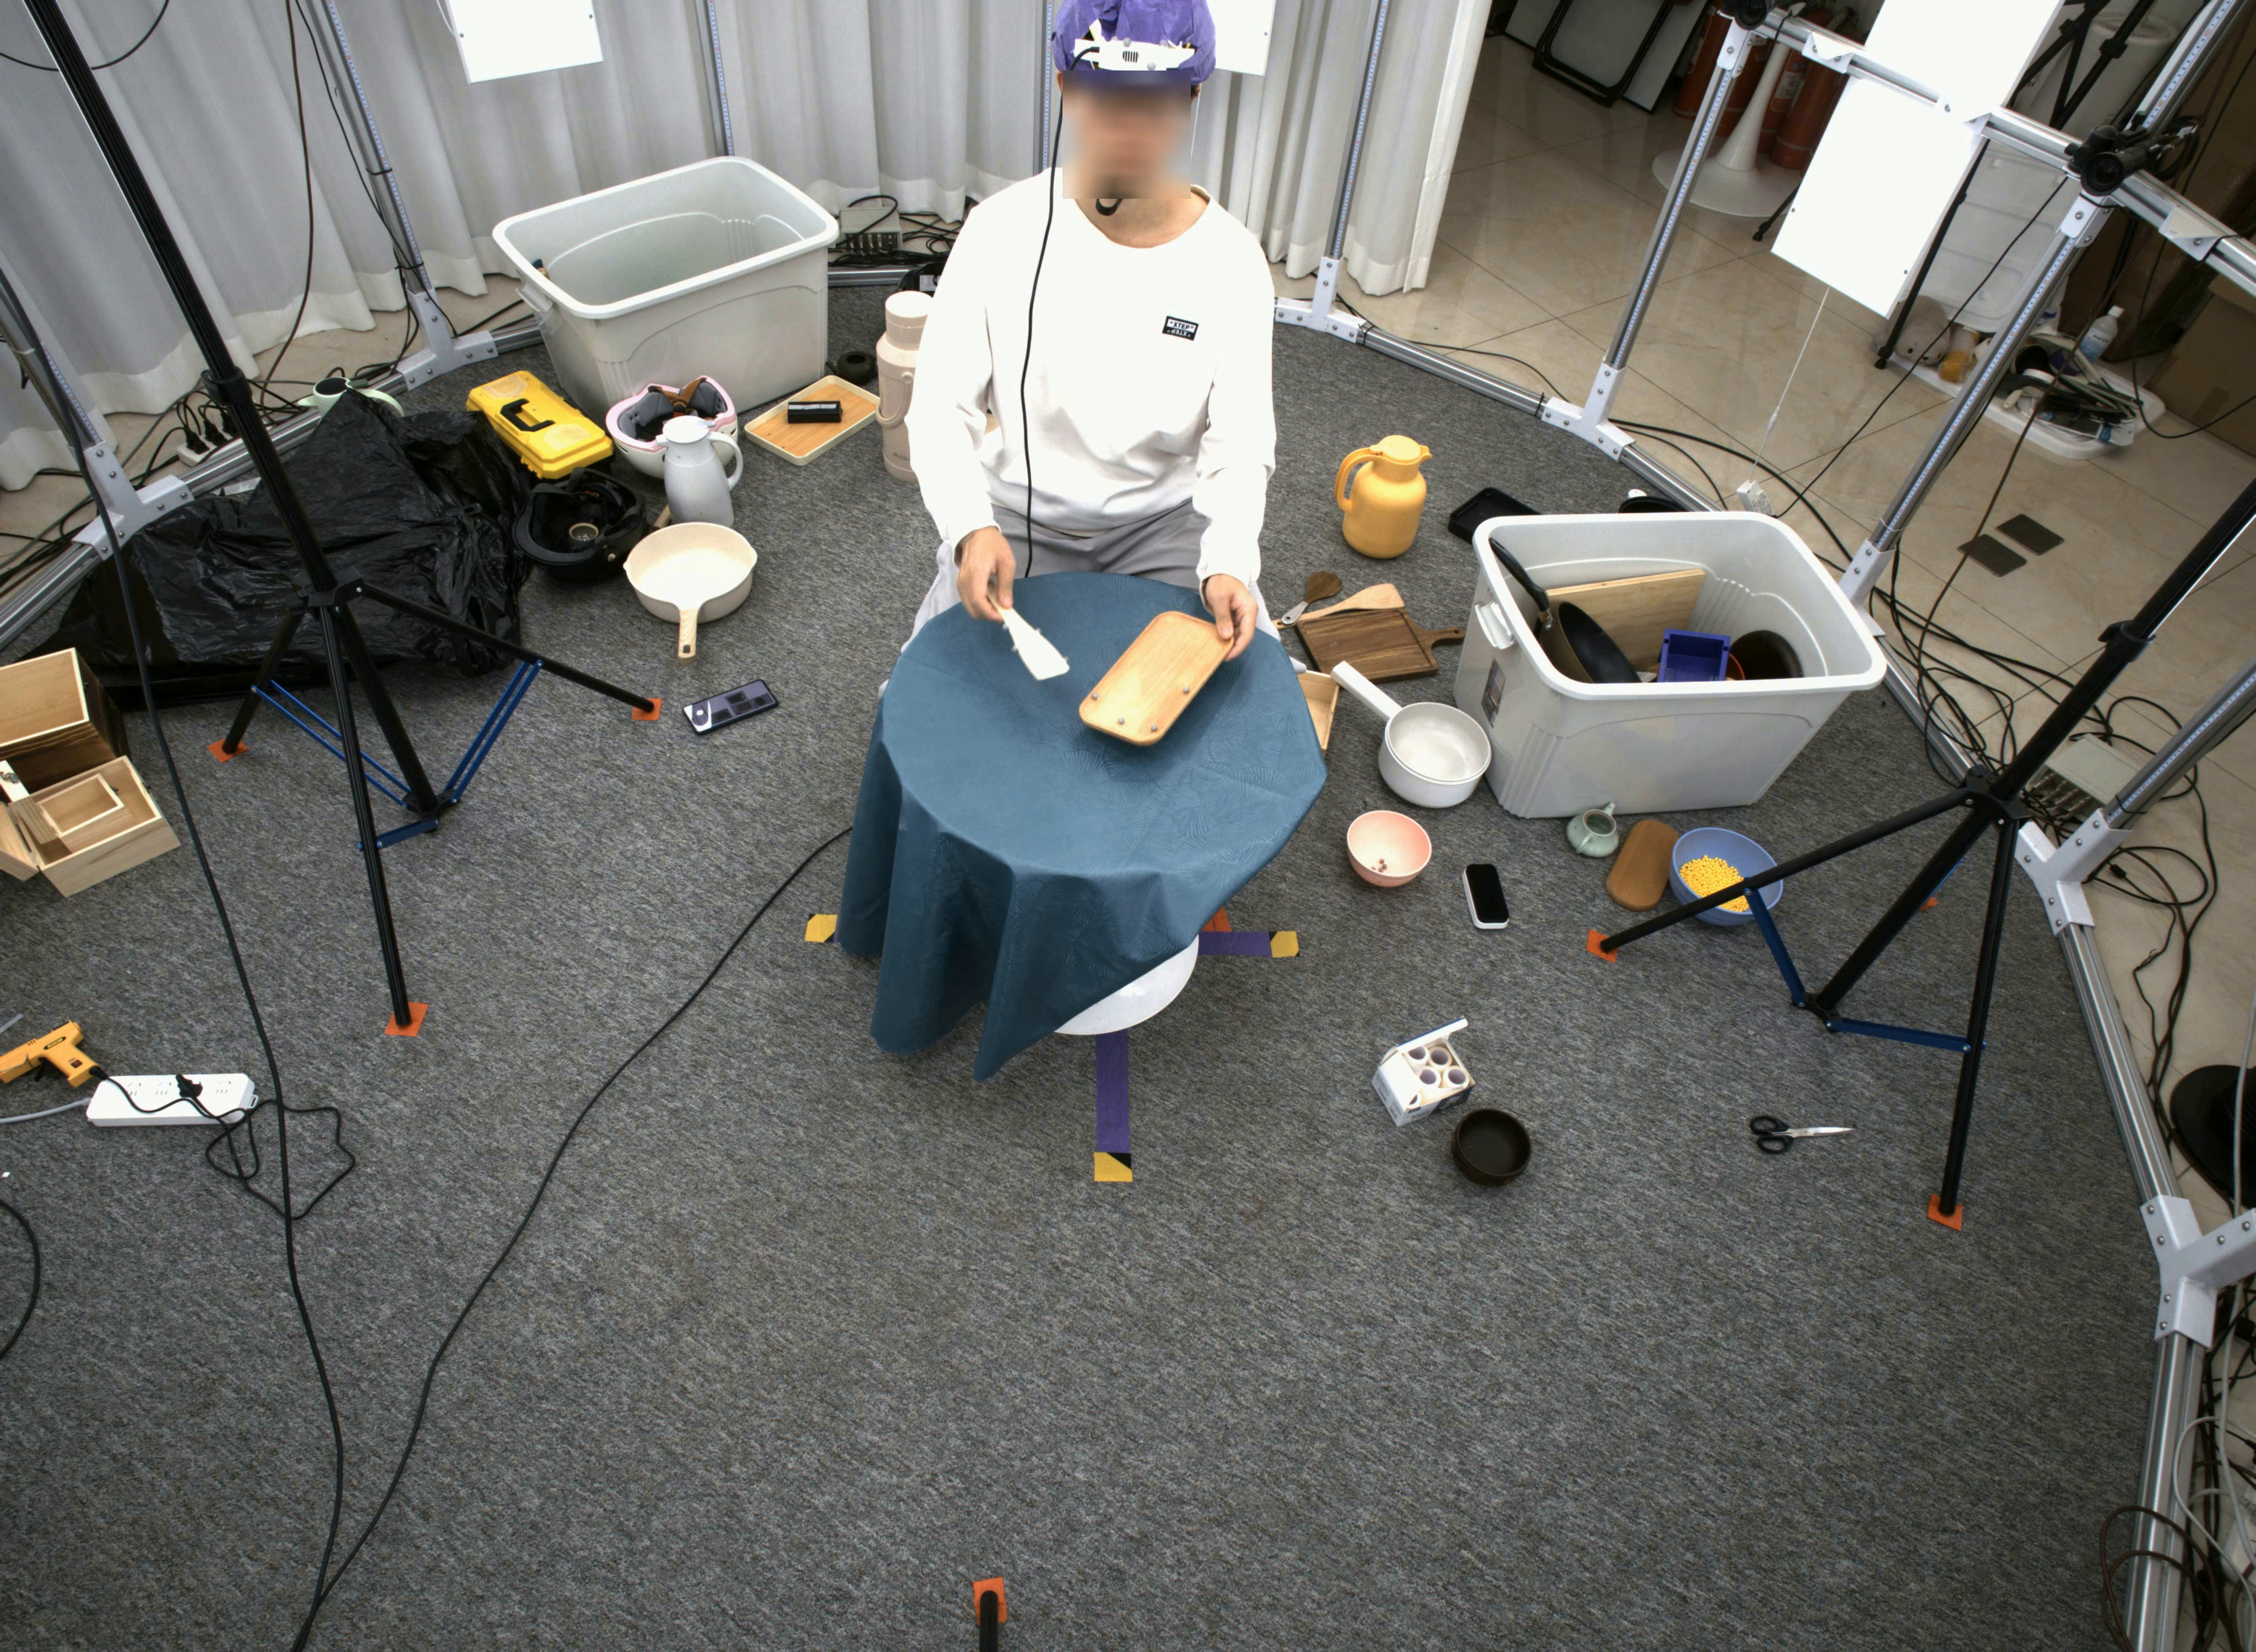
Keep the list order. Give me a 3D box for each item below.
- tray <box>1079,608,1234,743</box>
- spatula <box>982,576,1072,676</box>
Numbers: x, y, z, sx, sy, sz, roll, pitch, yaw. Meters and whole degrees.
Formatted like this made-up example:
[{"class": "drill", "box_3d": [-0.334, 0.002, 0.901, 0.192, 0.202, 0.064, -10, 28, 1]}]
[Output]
[{"class": "tray", "box_3d": [0.042, -0.212, 1.783, 0.132, 0.022, 0.254, 24, 55, 22]}, {"class": "spatula", "box_3d": [-0.146, -0.279, 1.777, 0.050, 0.005, 0.212, -16, 54, -31]}]
